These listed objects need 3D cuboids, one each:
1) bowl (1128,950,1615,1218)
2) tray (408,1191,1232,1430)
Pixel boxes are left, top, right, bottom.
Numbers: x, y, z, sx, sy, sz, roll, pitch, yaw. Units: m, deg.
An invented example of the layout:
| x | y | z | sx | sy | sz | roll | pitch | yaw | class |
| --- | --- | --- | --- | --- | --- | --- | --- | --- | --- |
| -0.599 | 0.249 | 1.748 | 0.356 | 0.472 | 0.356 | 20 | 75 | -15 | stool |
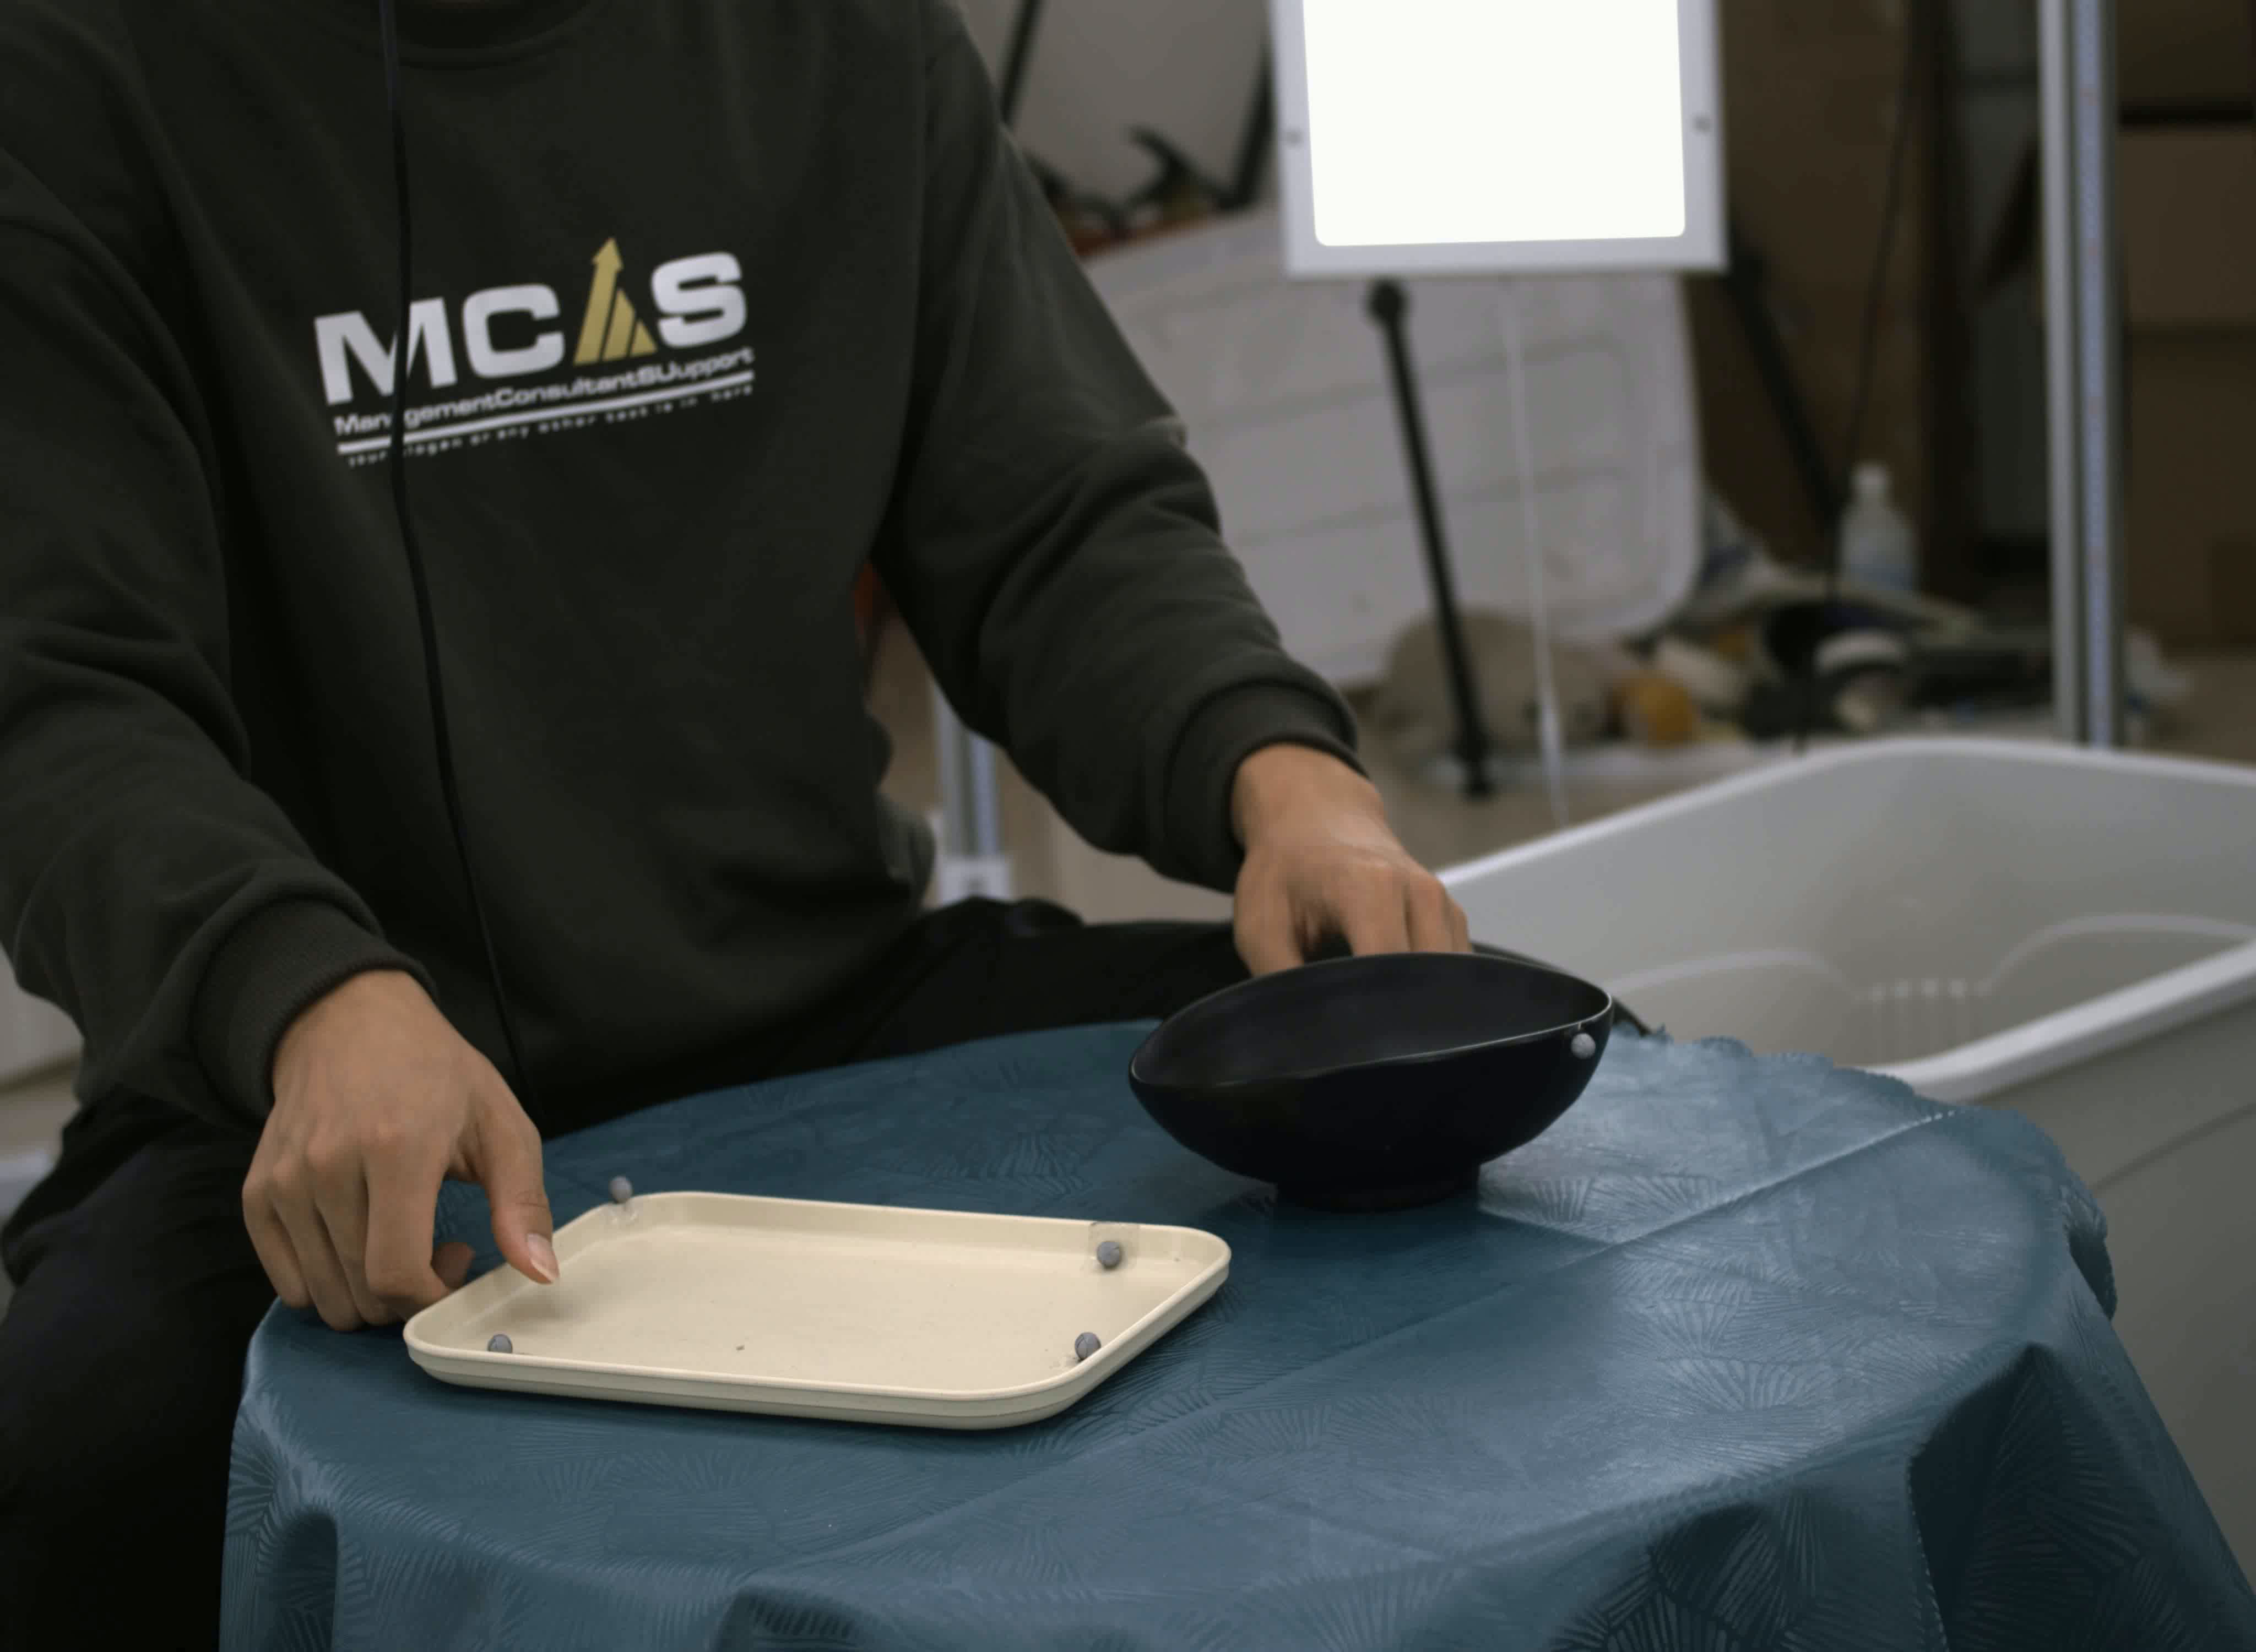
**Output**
| x | y | z | sx | sy | sz | roll | pitch | yaw | class |
| --- | --- | --- | --- | --- | --- | --- | --- | --- | --- |
| 0.086 | 0.093 | 1.878 | 0.168 | 0.067 | 0.138 | -10 | 13 | -10 | bowl |
| -0.098 | 0.155 | 1.777 | 0.244 | 0.017 | 0.168 | 2 | 15 | 27 | tray |
